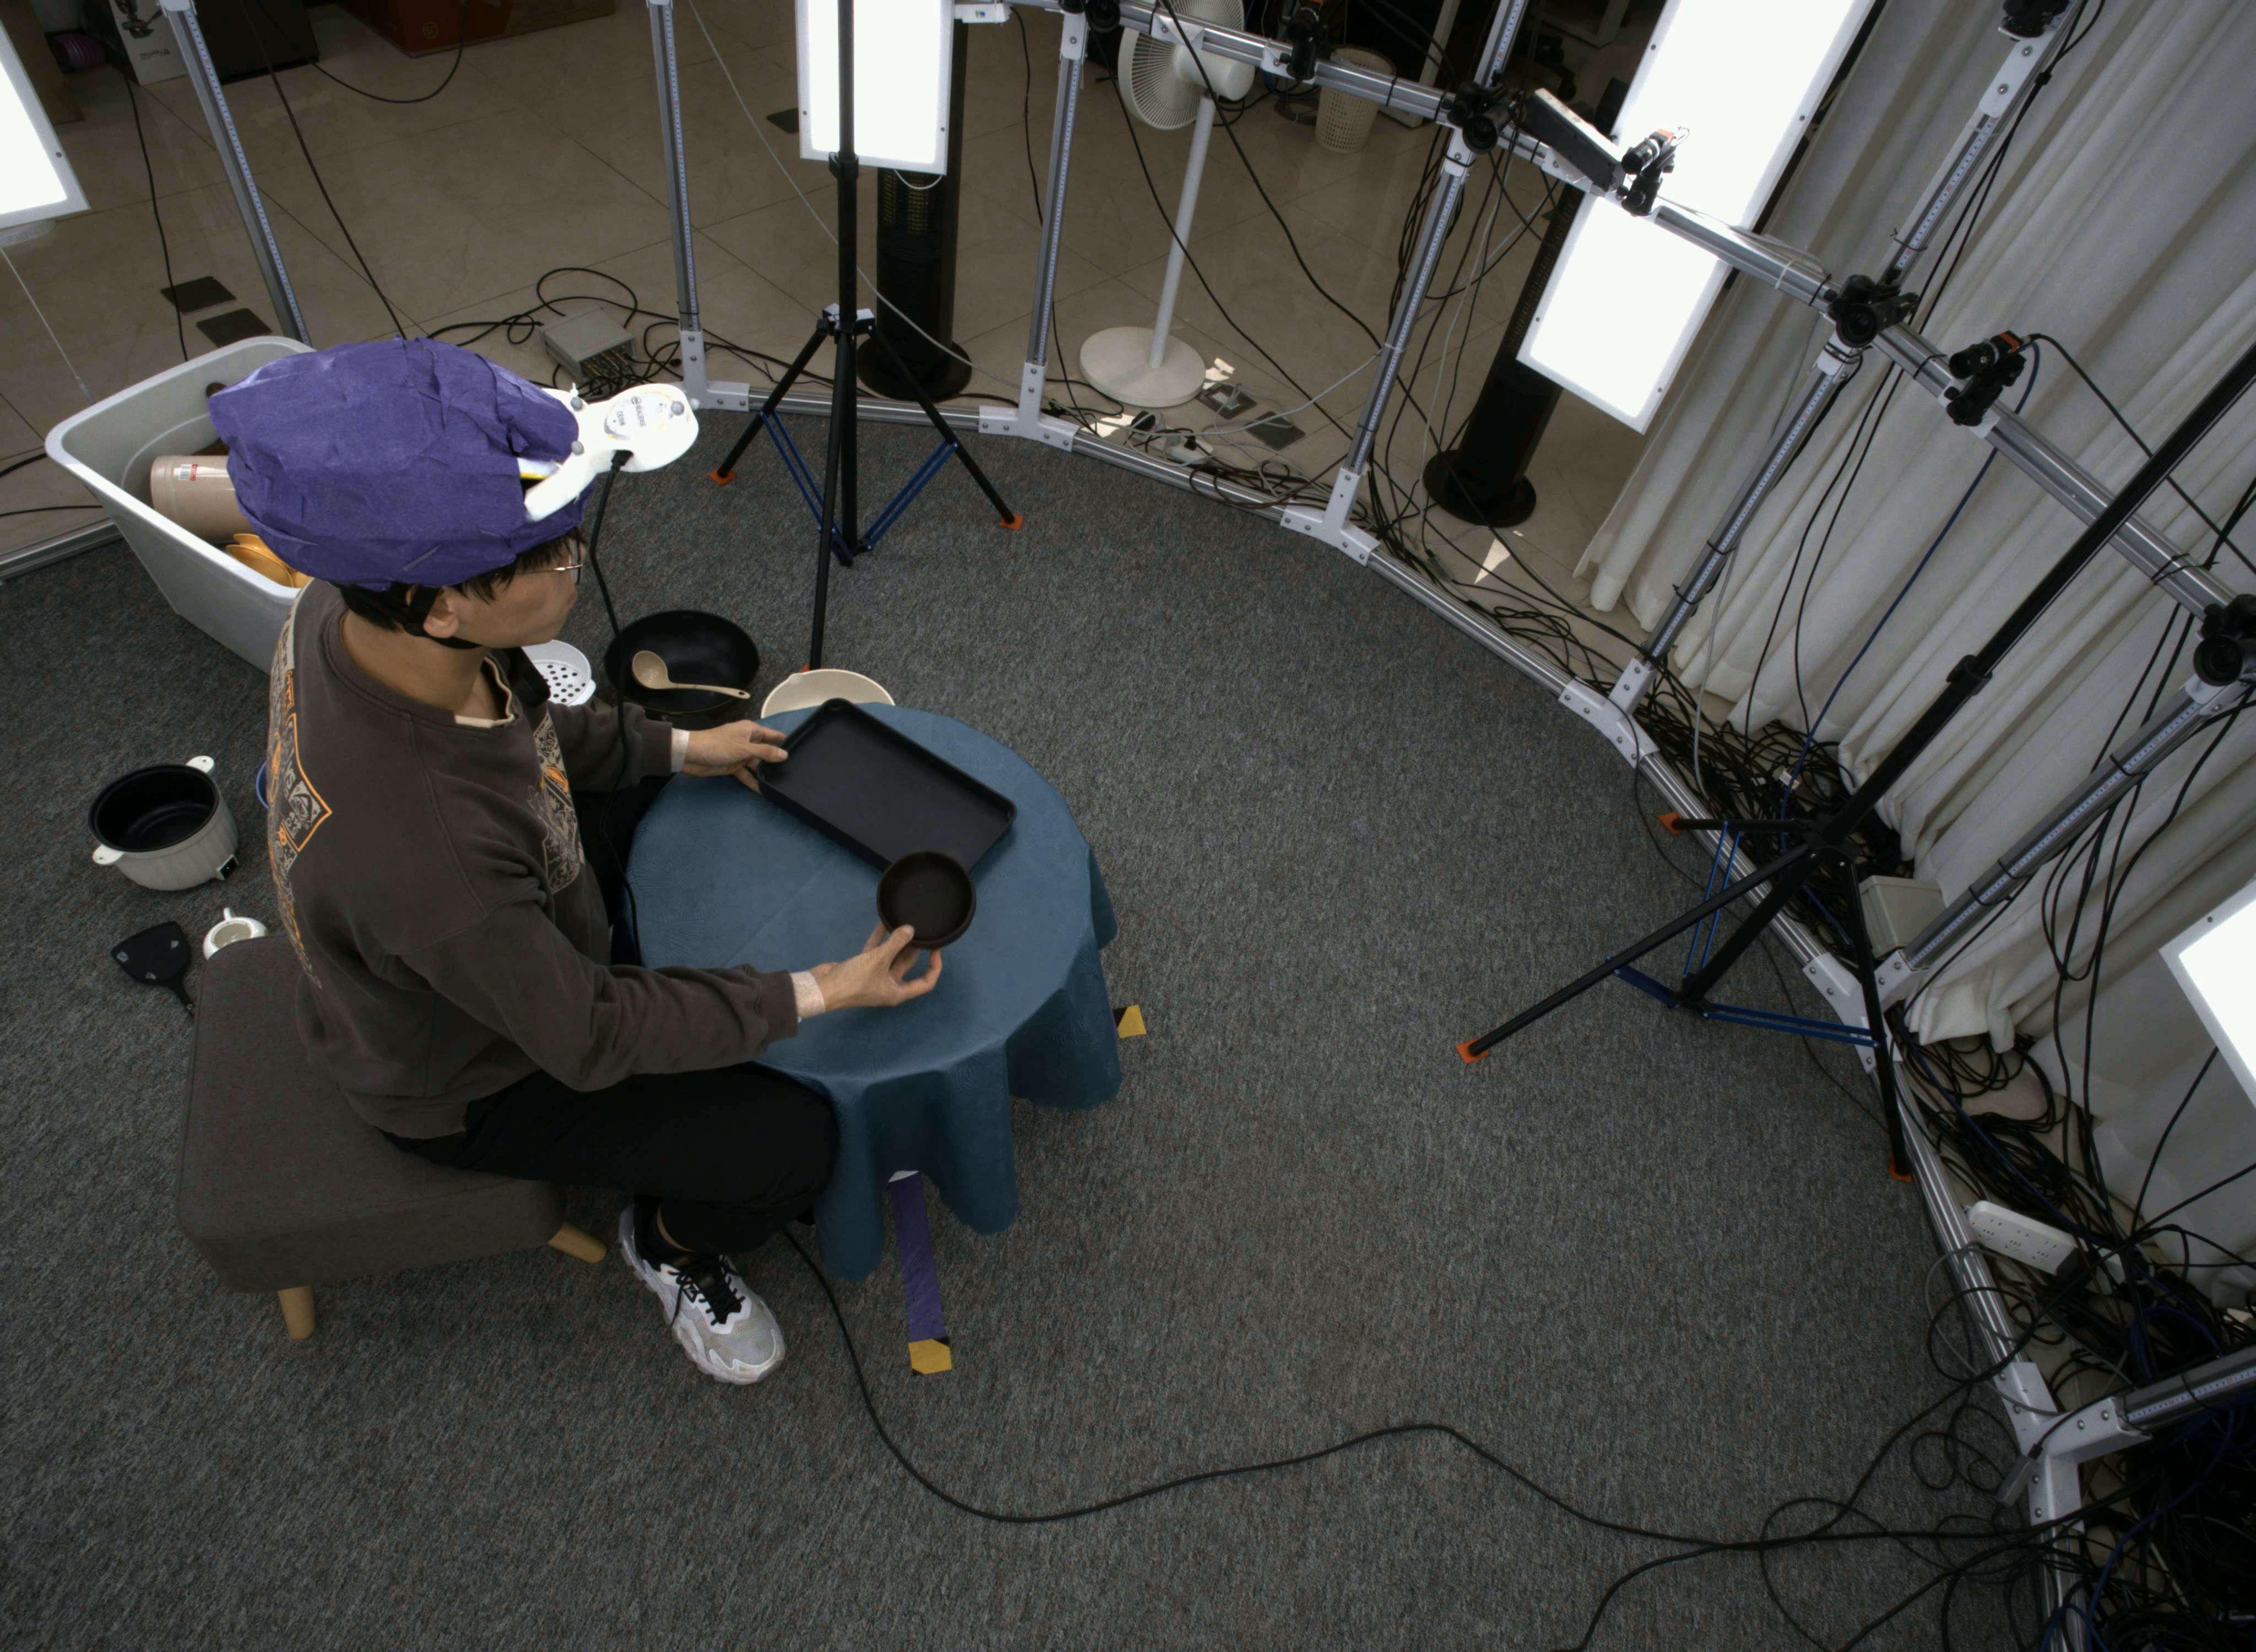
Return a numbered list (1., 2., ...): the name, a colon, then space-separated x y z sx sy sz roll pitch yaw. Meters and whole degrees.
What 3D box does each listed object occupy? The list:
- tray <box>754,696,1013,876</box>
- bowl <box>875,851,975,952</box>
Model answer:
1. tray: -0.329 -0.040 1.760 0.314 0.037 0.183 30 54 5
2. bowl: -0.243 0.094 1.573 0.117 0.070 0.118 1 76 -4
